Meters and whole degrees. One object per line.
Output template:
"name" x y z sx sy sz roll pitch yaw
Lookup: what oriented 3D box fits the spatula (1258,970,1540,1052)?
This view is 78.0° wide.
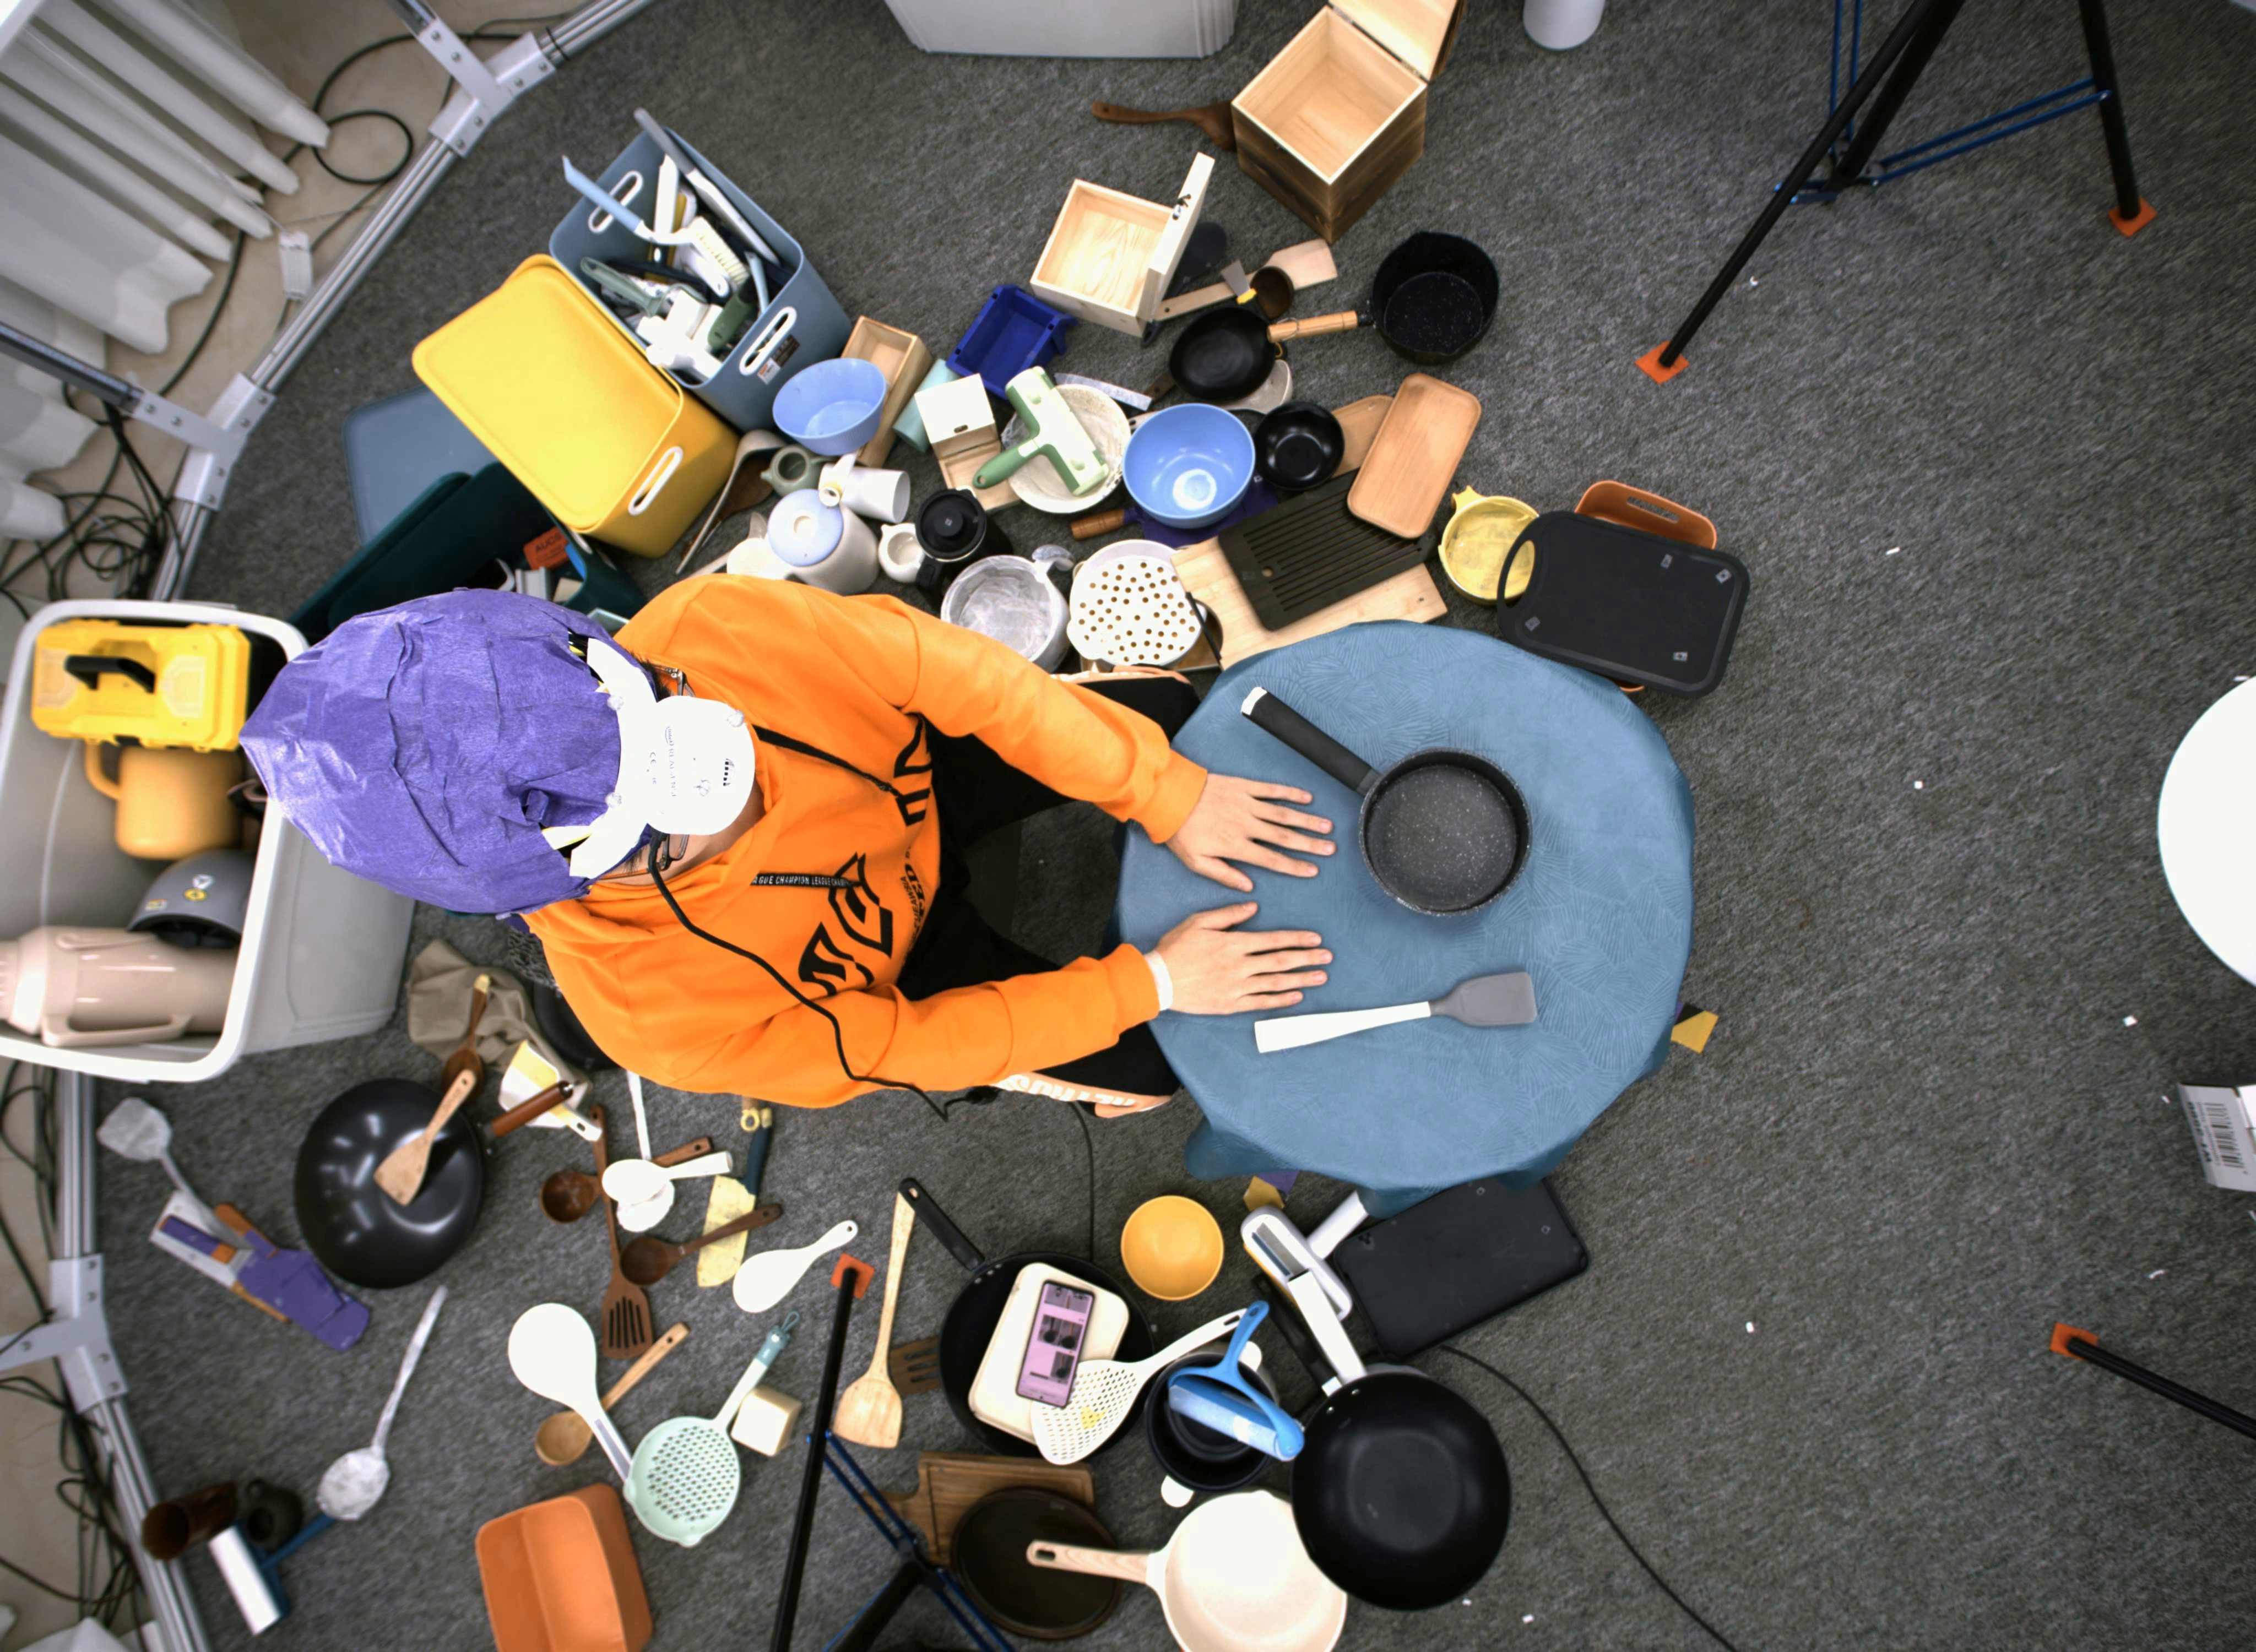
"spatula" 0.279 0.195 1.435 0.289 0.032 0.058 -10 83 10

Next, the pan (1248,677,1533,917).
"pan" 0.261 -0.040 1.425 0.328 0.086 0.172 38 93 9
